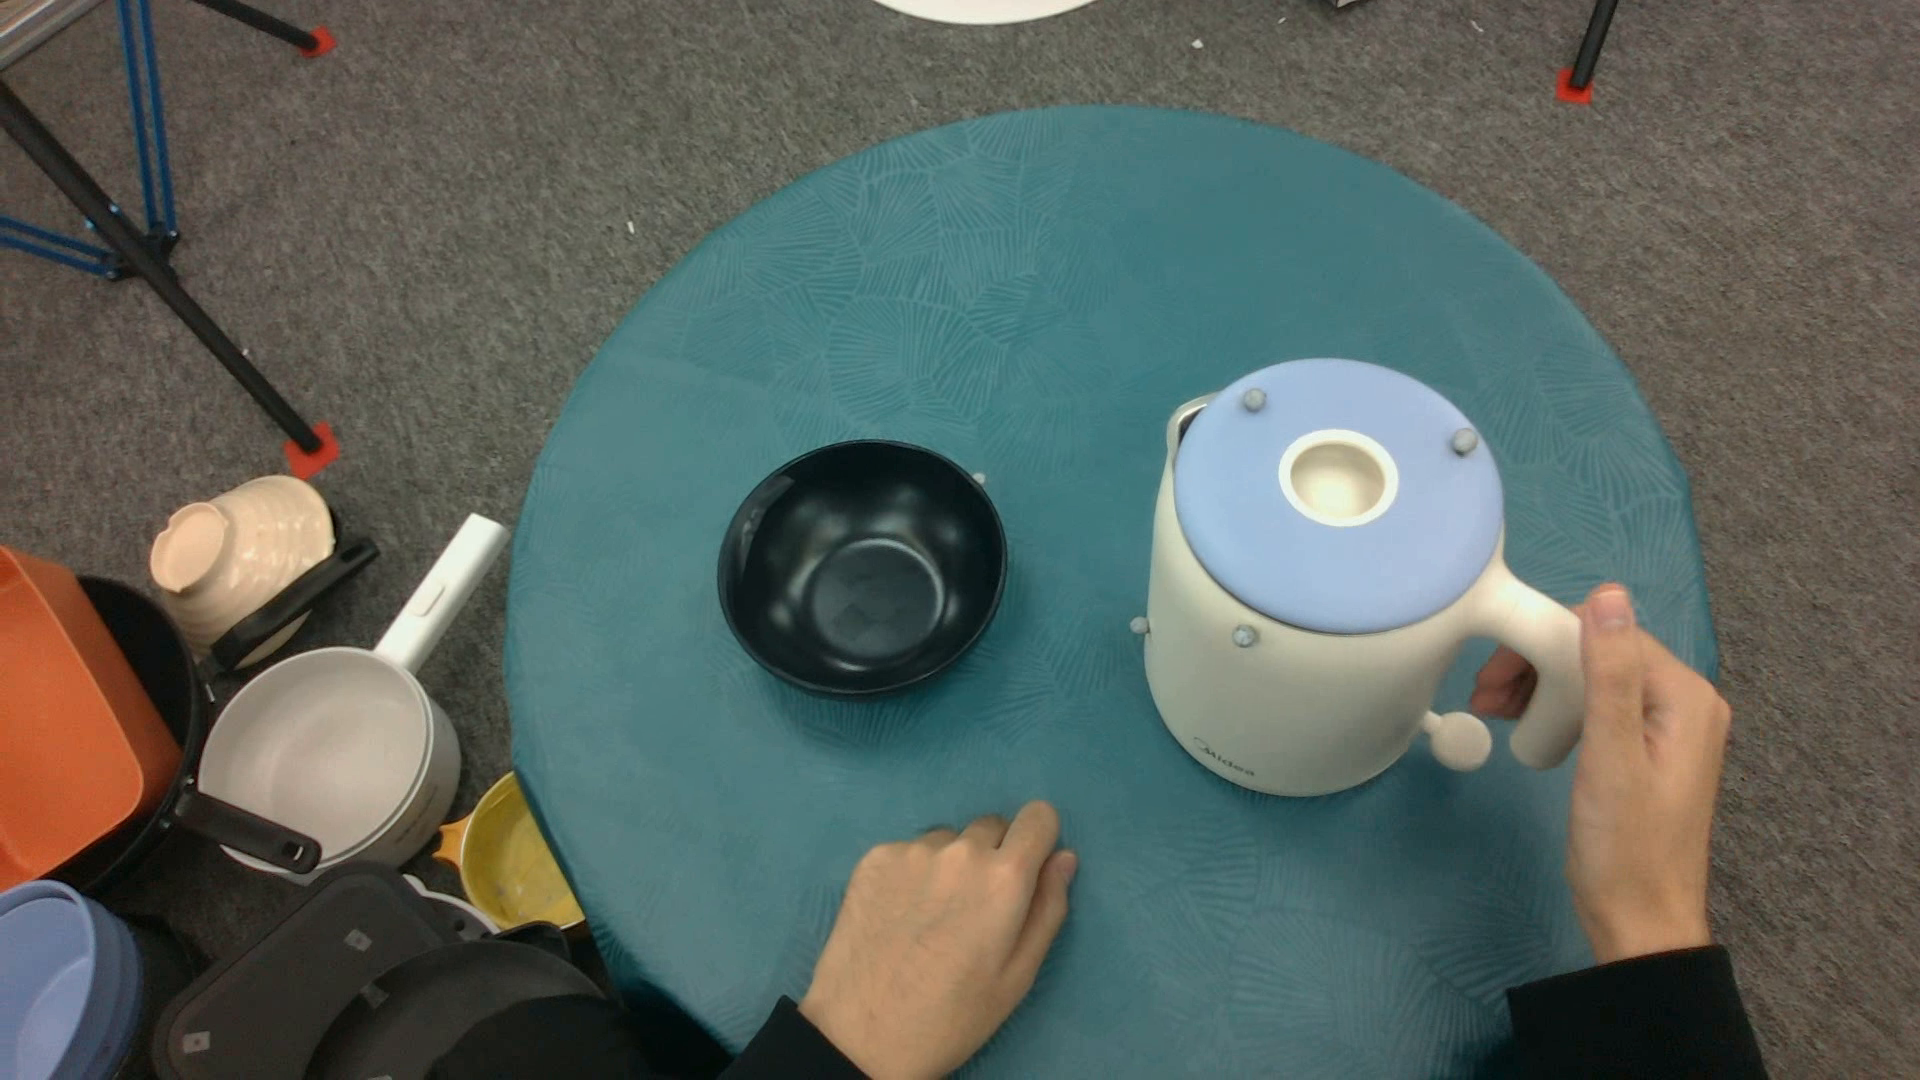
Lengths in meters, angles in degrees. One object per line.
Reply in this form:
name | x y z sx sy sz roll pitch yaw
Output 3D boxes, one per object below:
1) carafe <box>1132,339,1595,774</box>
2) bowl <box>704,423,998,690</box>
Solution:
carafe | 0.163 0.024 0.577 0.191 0.182 0.133 28 68 16
bowl | -0.051 0.014 0.667 0.140 0.049 0.140 -1 62 2
